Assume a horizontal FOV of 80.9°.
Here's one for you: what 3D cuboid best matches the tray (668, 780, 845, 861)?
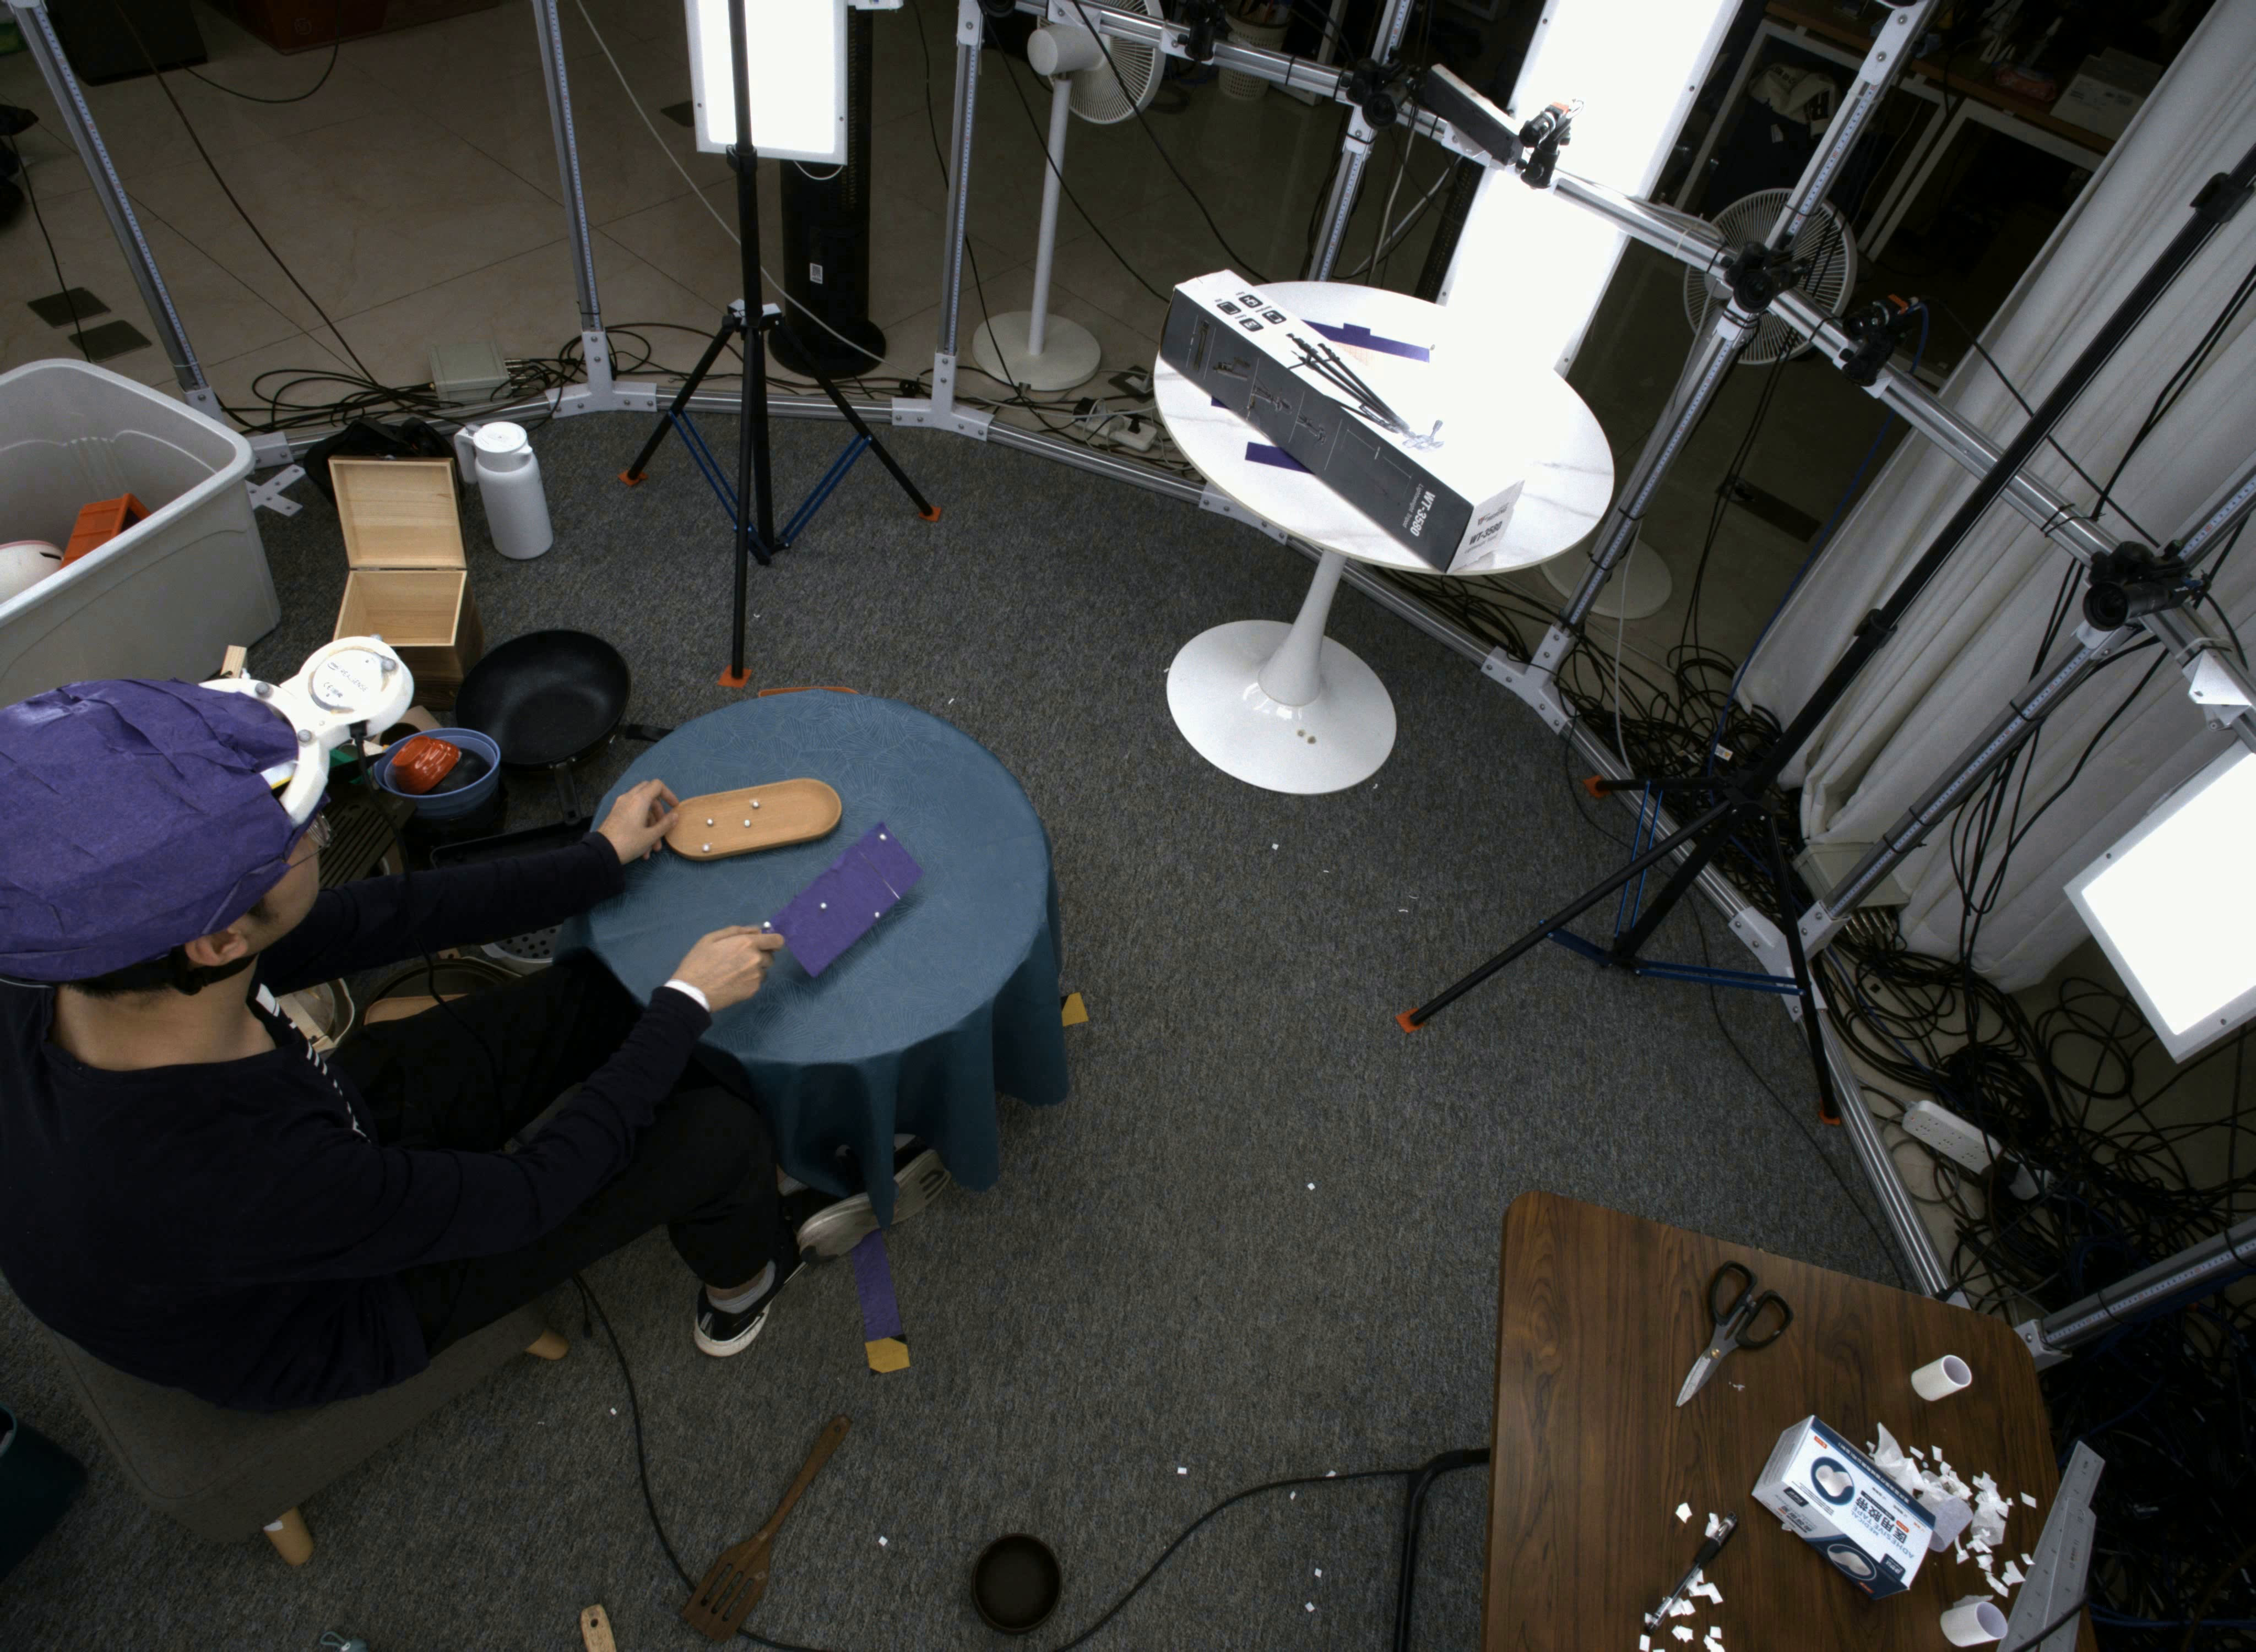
[{"bbox_3d":[-0.491,-0.009,1.715,0.233,0.020,0.099,-9,58,-24],"label":"tray"}]

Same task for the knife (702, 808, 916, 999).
[{"bbox_3d":[-0.377,0.112,1.584,0.106,0.031,0.315,53,56,-17],"label":"knife"}]
